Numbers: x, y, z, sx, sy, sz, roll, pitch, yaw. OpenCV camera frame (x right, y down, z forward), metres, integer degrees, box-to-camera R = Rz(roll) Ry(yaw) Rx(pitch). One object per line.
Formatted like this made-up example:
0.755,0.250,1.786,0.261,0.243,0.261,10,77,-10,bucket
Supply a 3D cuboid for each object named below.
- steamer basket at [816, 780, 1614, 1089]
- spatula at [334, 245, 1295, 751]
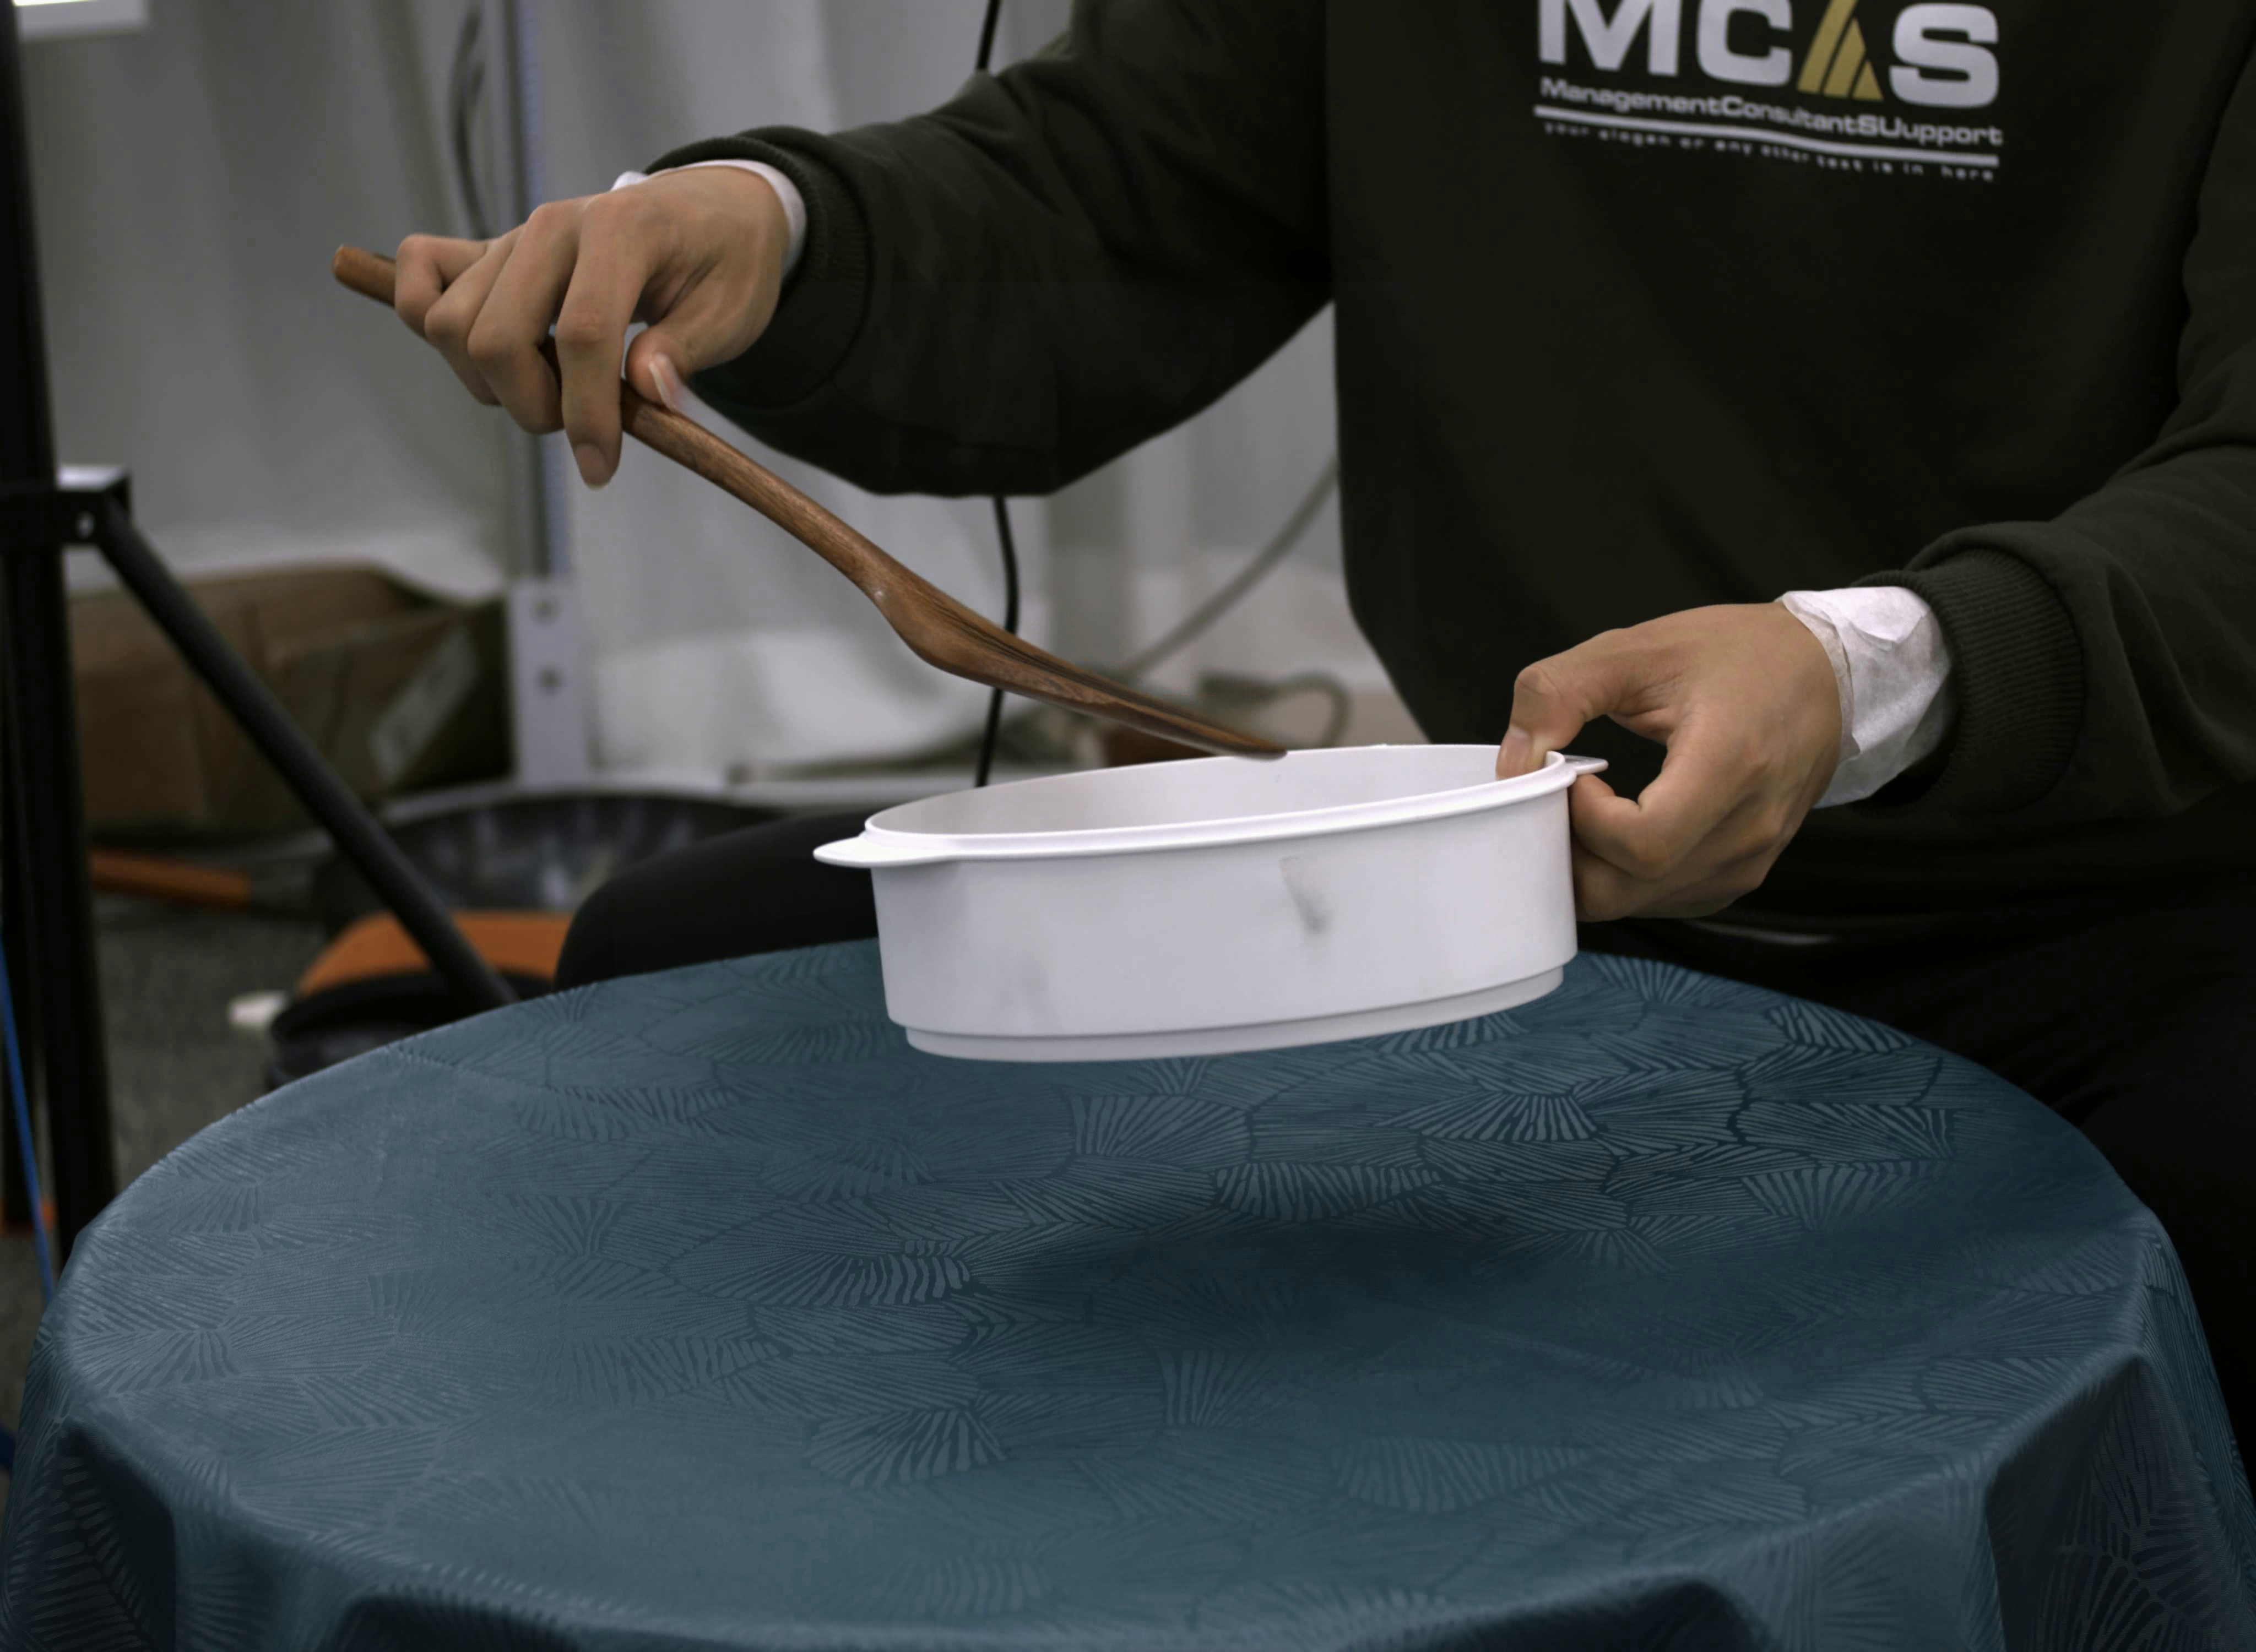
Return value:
0.026,0.030,1.477,0.226,0.069,0.205,-4,6,-22,steamer basket
-0.110,-0.098,1.582,0.394,0.024,0.083,31,12,35,spatula
